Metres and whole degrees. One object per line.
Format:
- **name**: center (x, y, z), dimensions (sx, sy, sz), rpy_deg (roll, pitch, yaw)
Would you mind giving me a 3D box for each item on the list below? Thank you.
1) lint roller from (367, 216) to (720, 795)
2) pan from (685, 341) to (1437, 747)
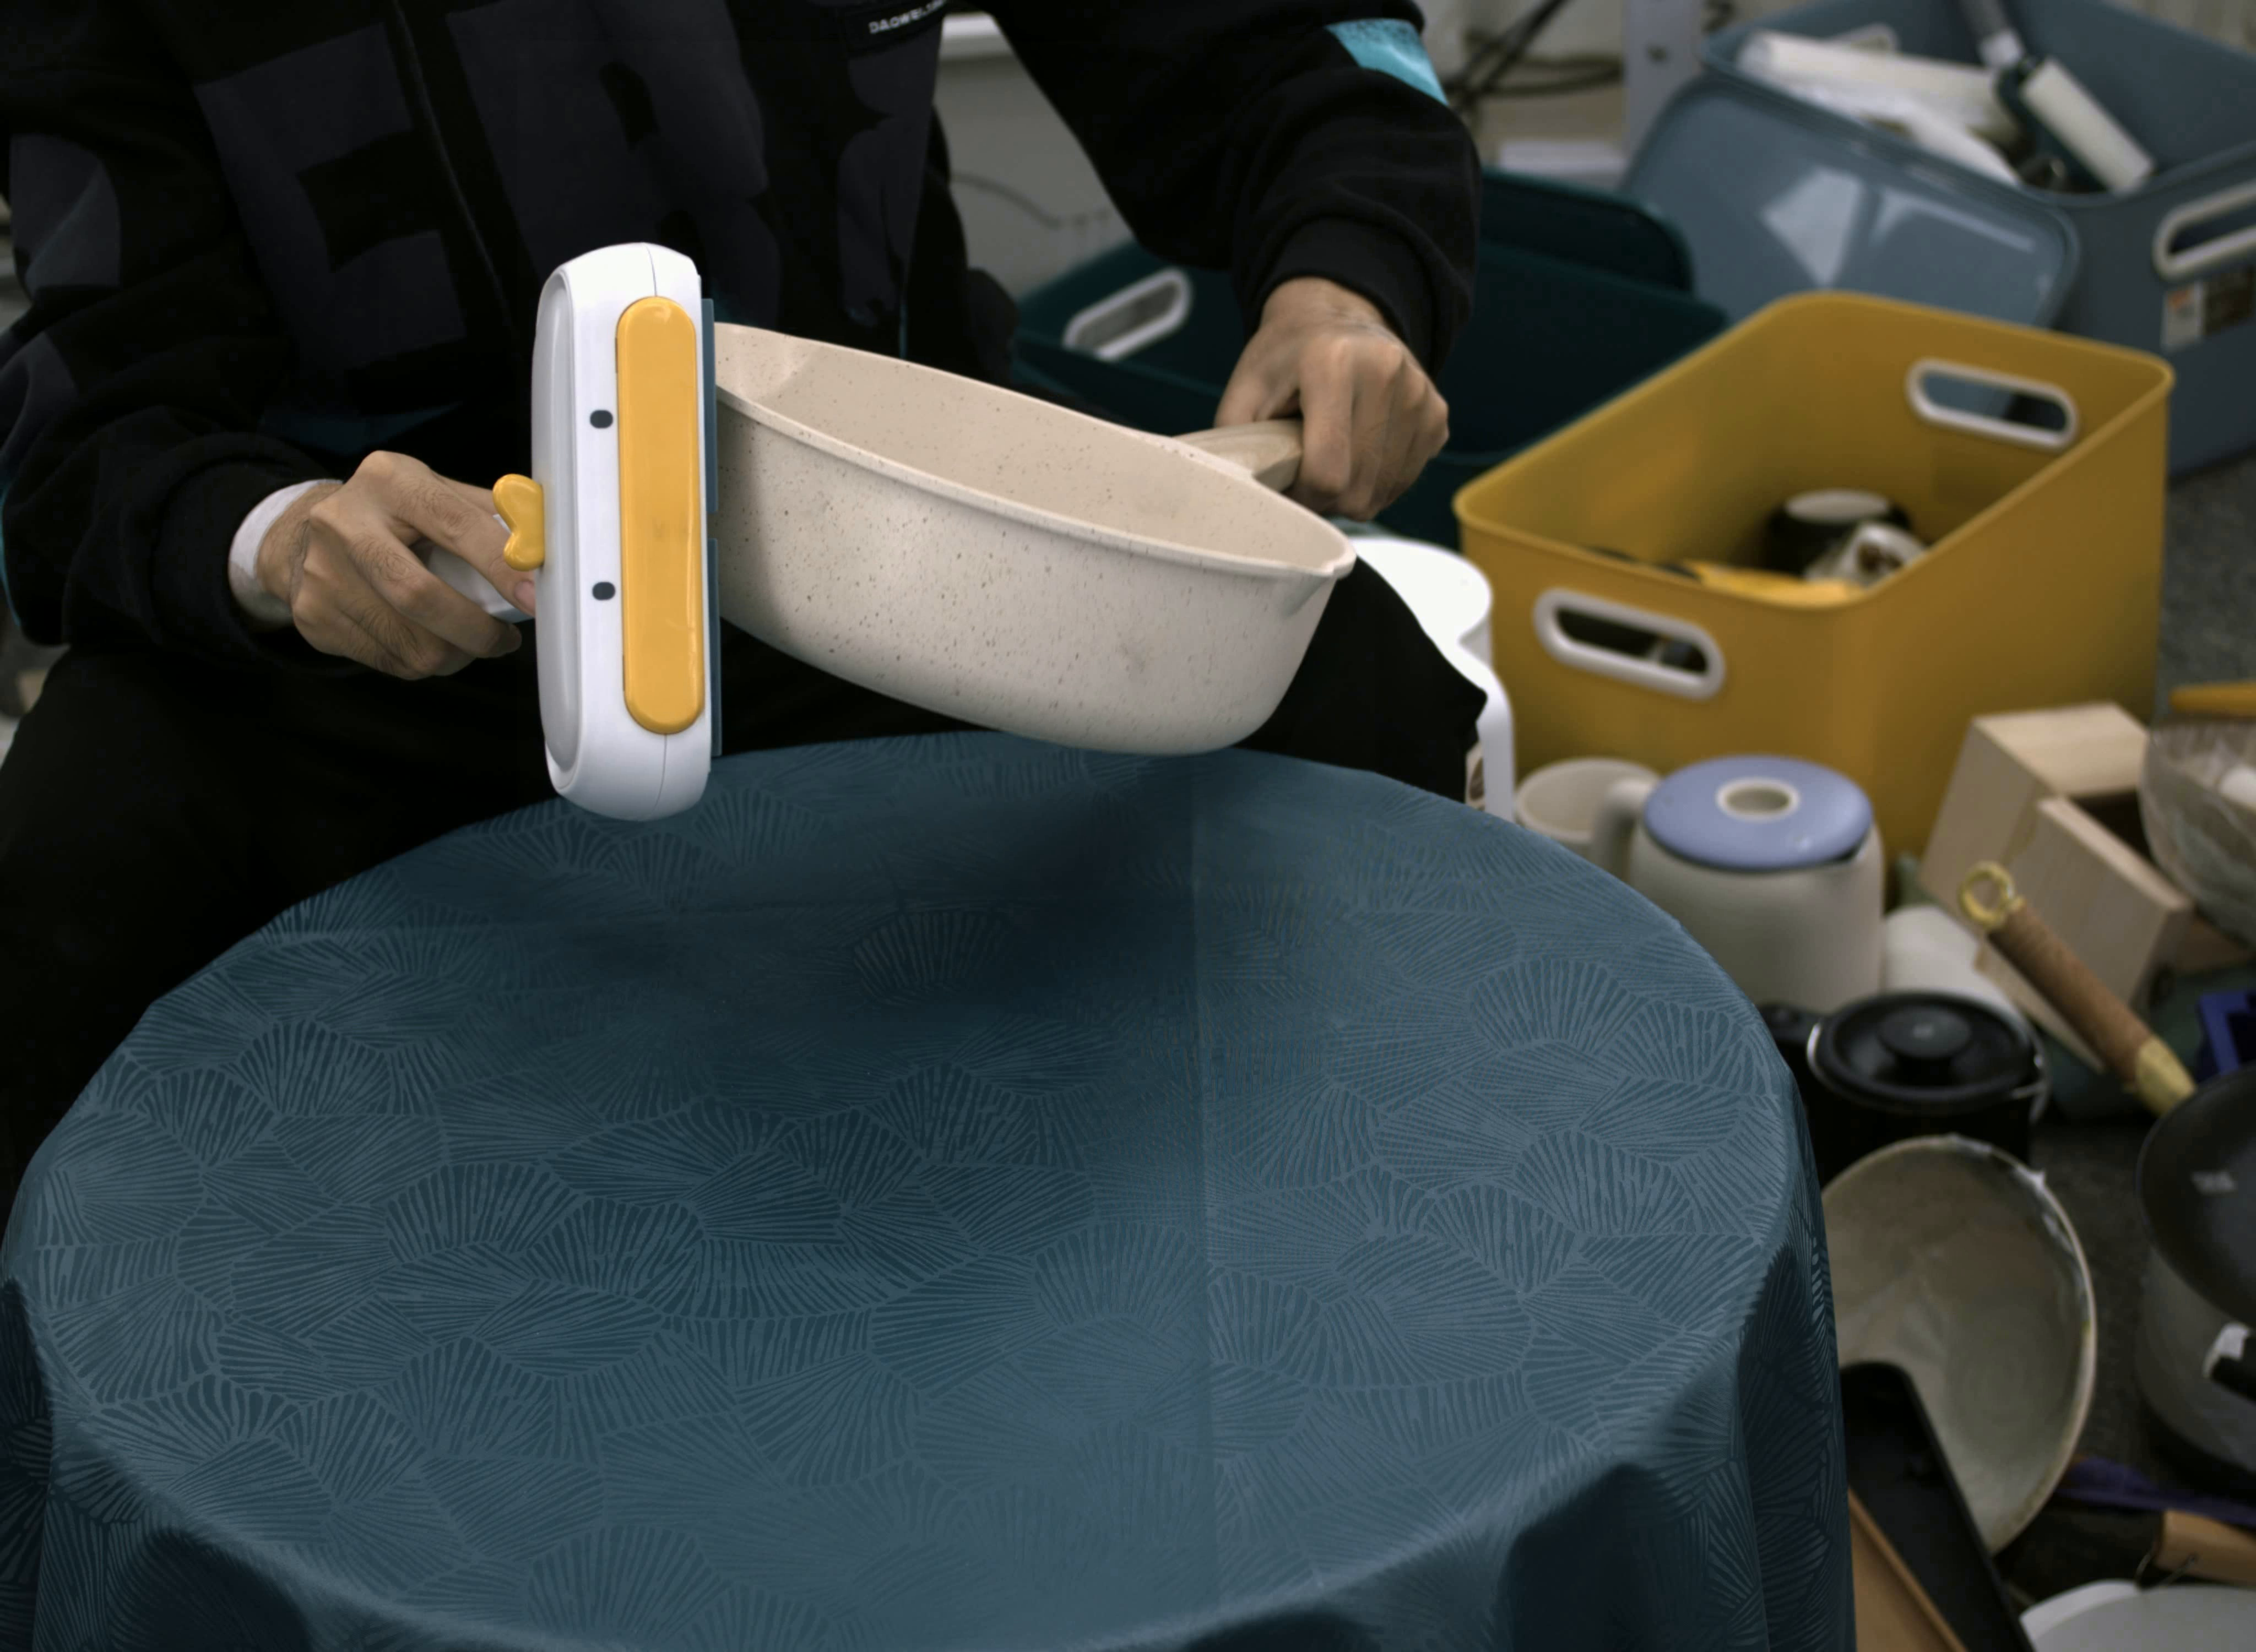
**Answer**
- **lint roller**: center (-0.201, -0.095, 1.917), dimensions (0.074, 0.195, 0.190), rpy_deg (-2, -11, -29)
- **pan**: center (0.001, -0.105, 2.048), dimensions (0.262, 0.102, 0.437), rpy_deg (20, 11, 27)
